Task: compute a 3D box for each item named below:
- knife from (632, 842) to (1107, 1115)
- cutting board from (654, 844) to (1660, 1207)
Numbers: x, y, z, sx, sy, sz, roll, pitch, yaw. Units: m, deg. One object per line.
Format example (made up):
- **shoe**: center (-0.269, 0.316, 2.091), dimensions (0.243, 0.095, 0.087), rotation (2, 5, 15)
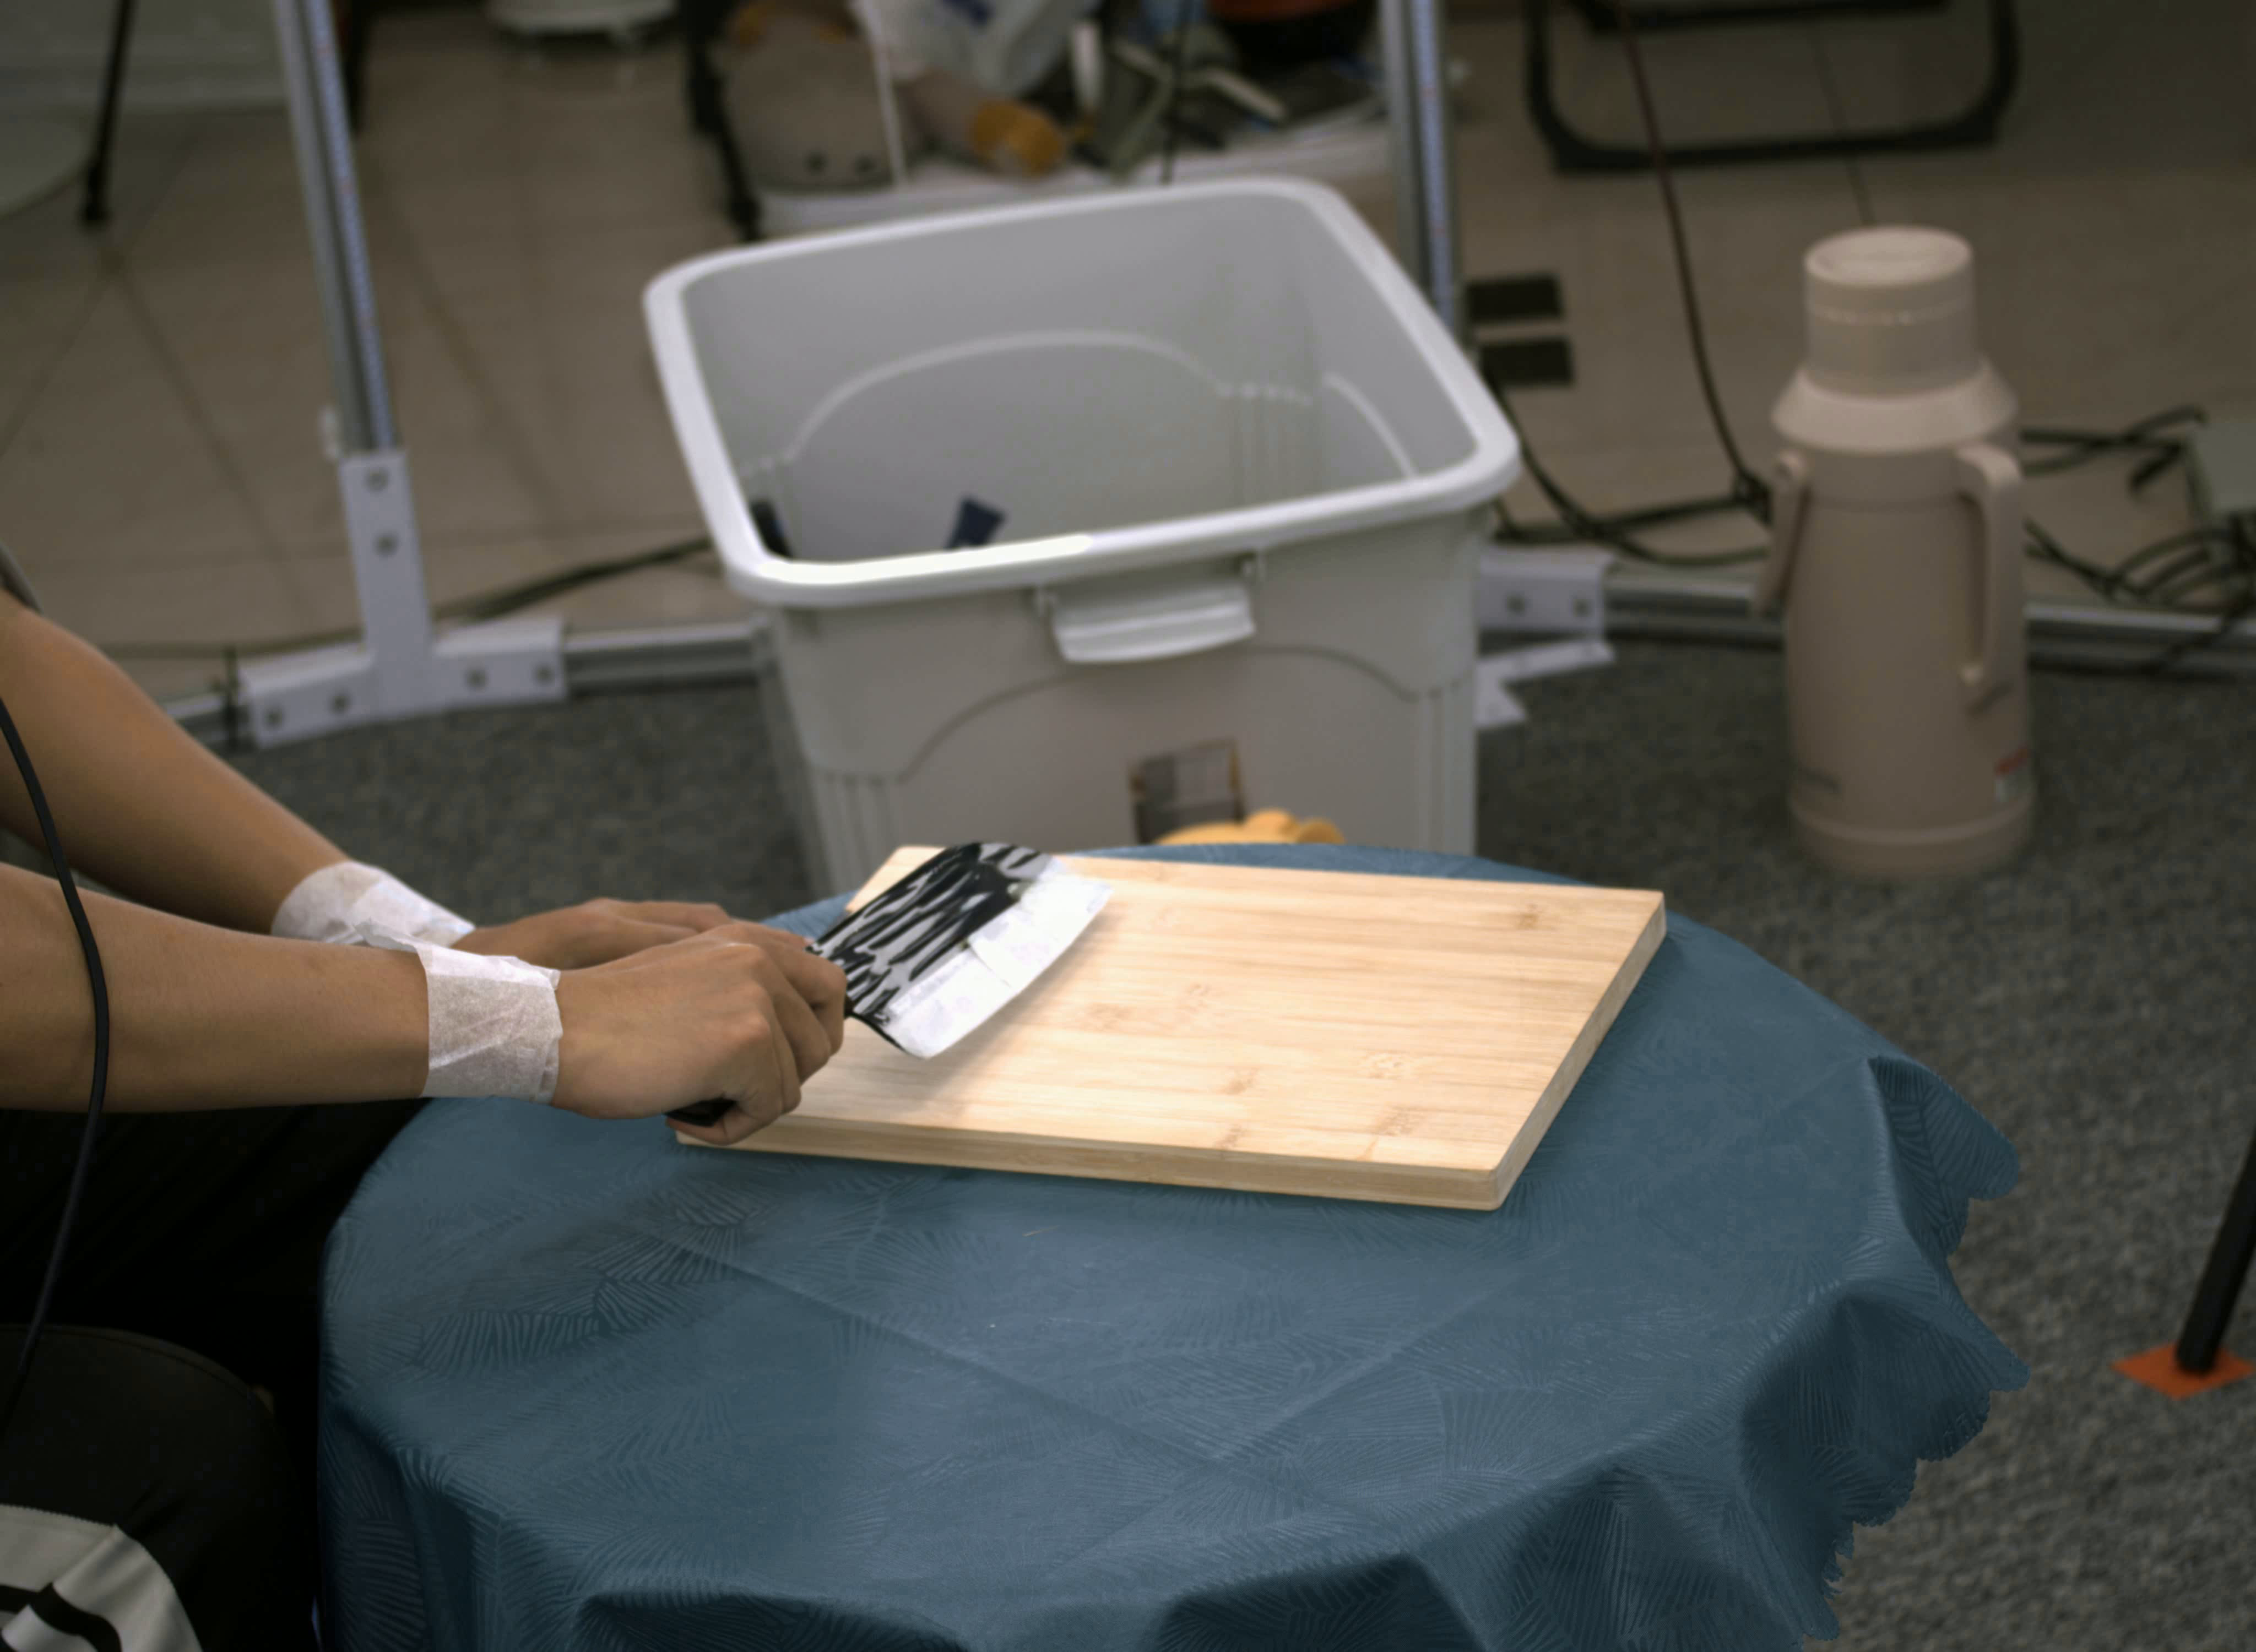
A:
- **knife**: center (-0.094, 0.061, 2.210), dimensions (0.068, 0.024, 0.296), rotation (41, 34, 9)
- **cutting board**: center (0.015, 0.075, 2.265), dimensions (0.348, 0.024, 0.247), rotation (3, 26, 20)
